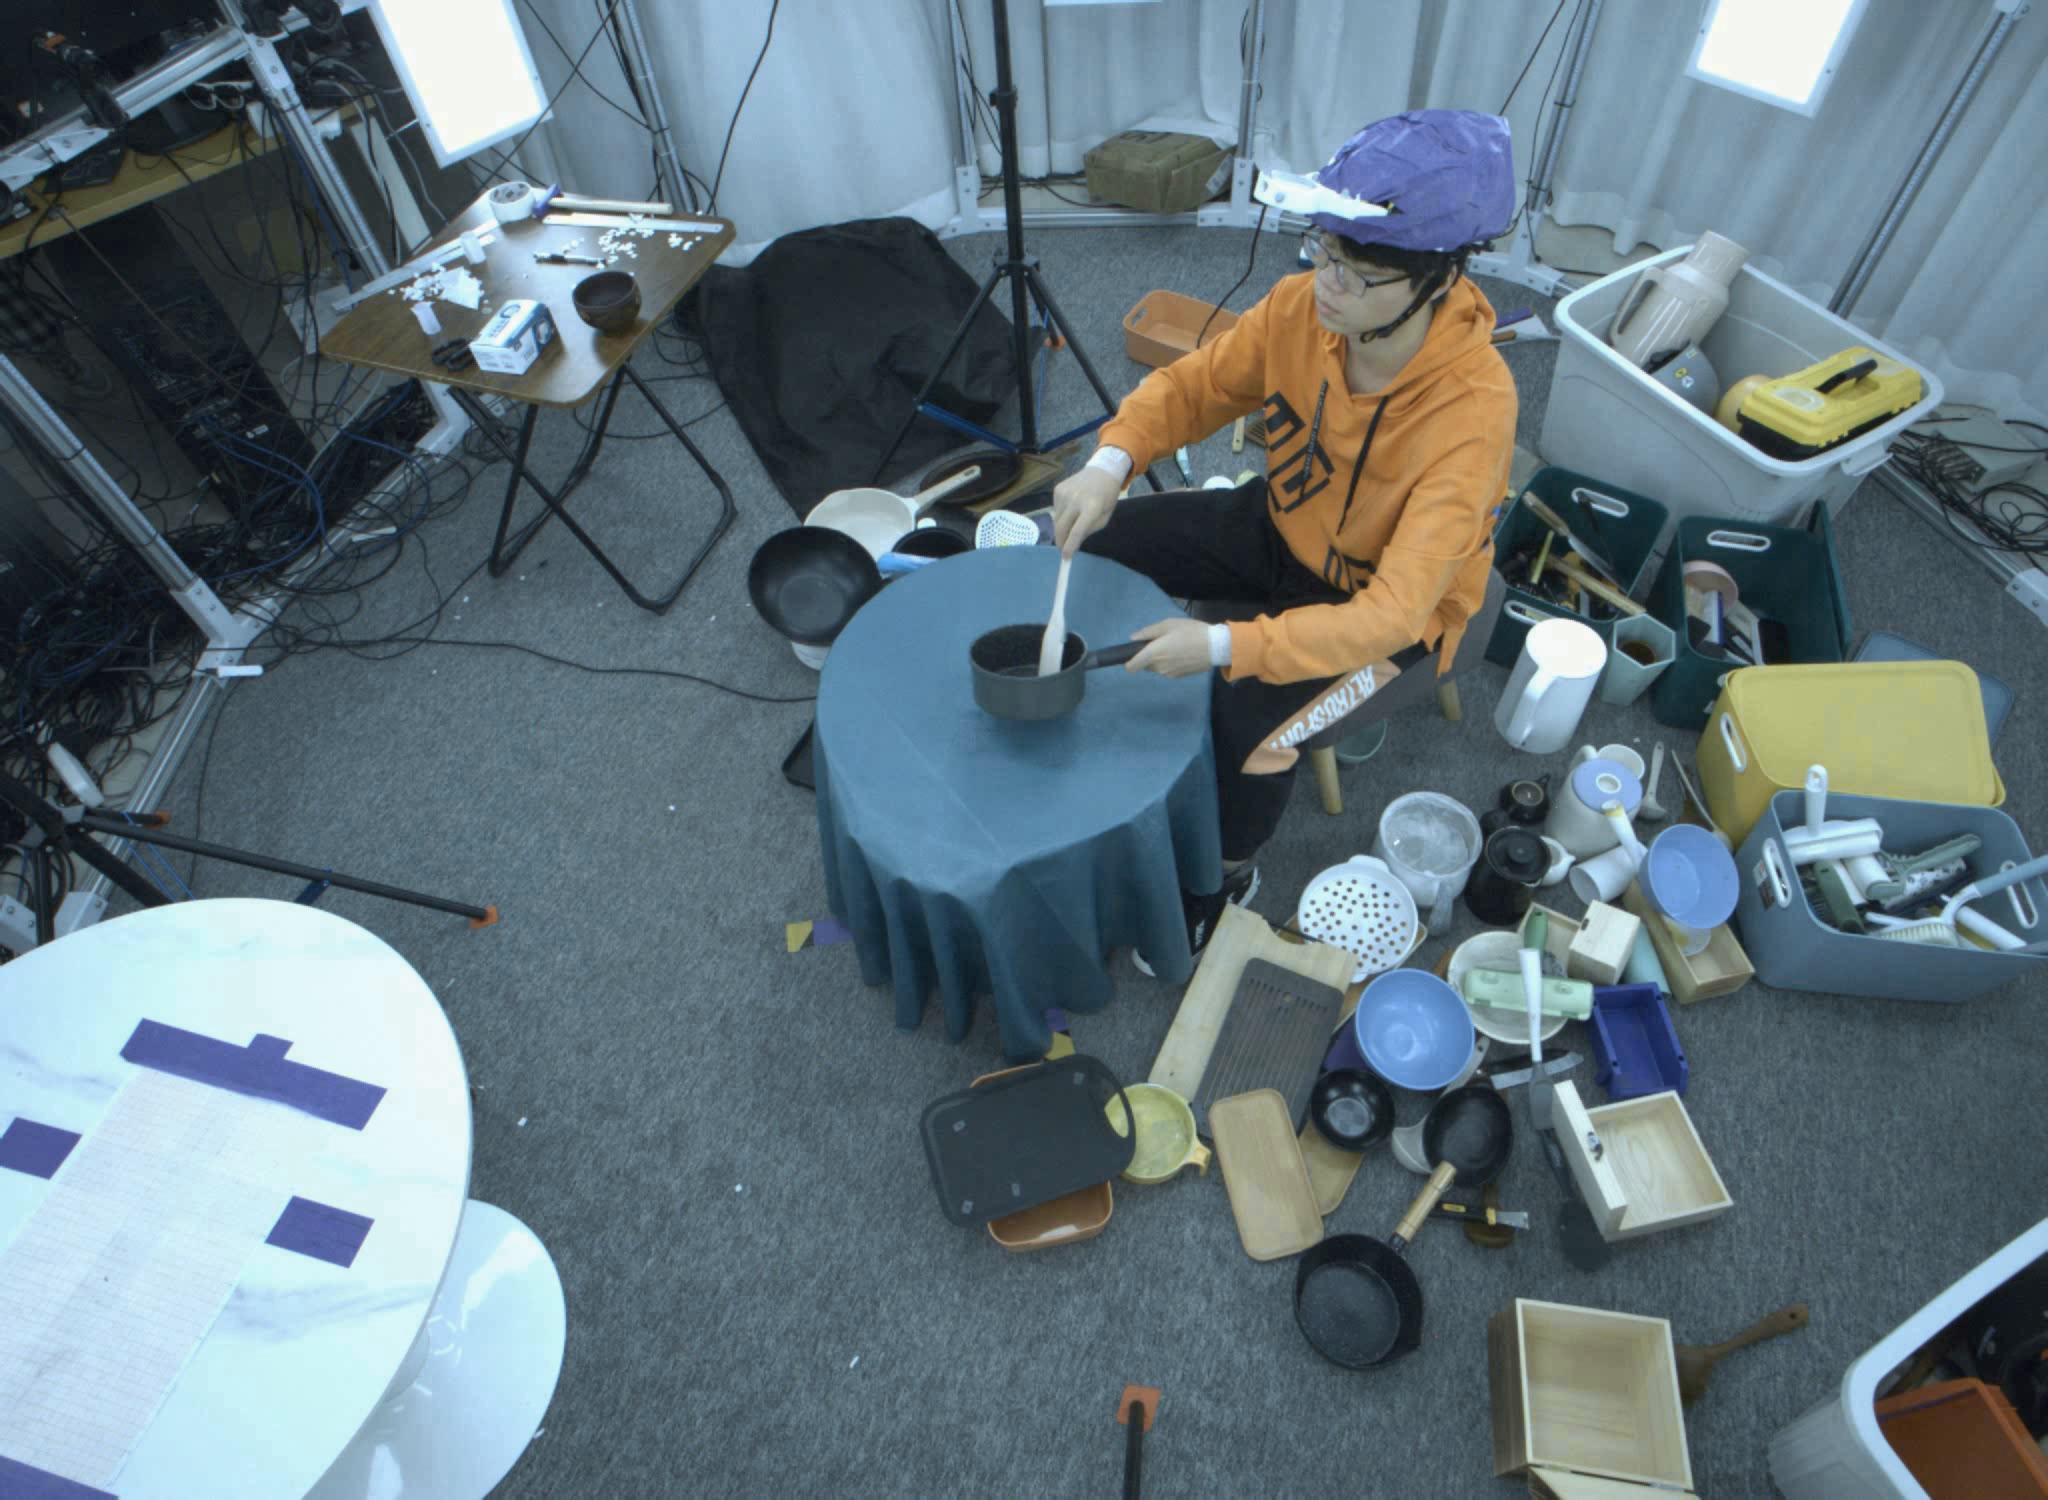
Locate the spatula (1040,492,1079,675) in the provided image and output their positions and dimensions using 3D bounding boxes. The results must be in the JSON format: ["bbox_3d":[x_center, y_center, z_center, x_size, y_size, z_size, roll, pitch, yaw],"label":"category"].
[{"bbox_3d":[0.054,-0.245,1.785,0.011,0.071,0.292,13,74,-16],"label":"spatula"}]

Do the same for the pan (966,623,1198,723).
[{"bbox_3d":[0.084,-0.117,1.761,0.329,0.087,0.170,-3,34,0],"label":"pan"}]
